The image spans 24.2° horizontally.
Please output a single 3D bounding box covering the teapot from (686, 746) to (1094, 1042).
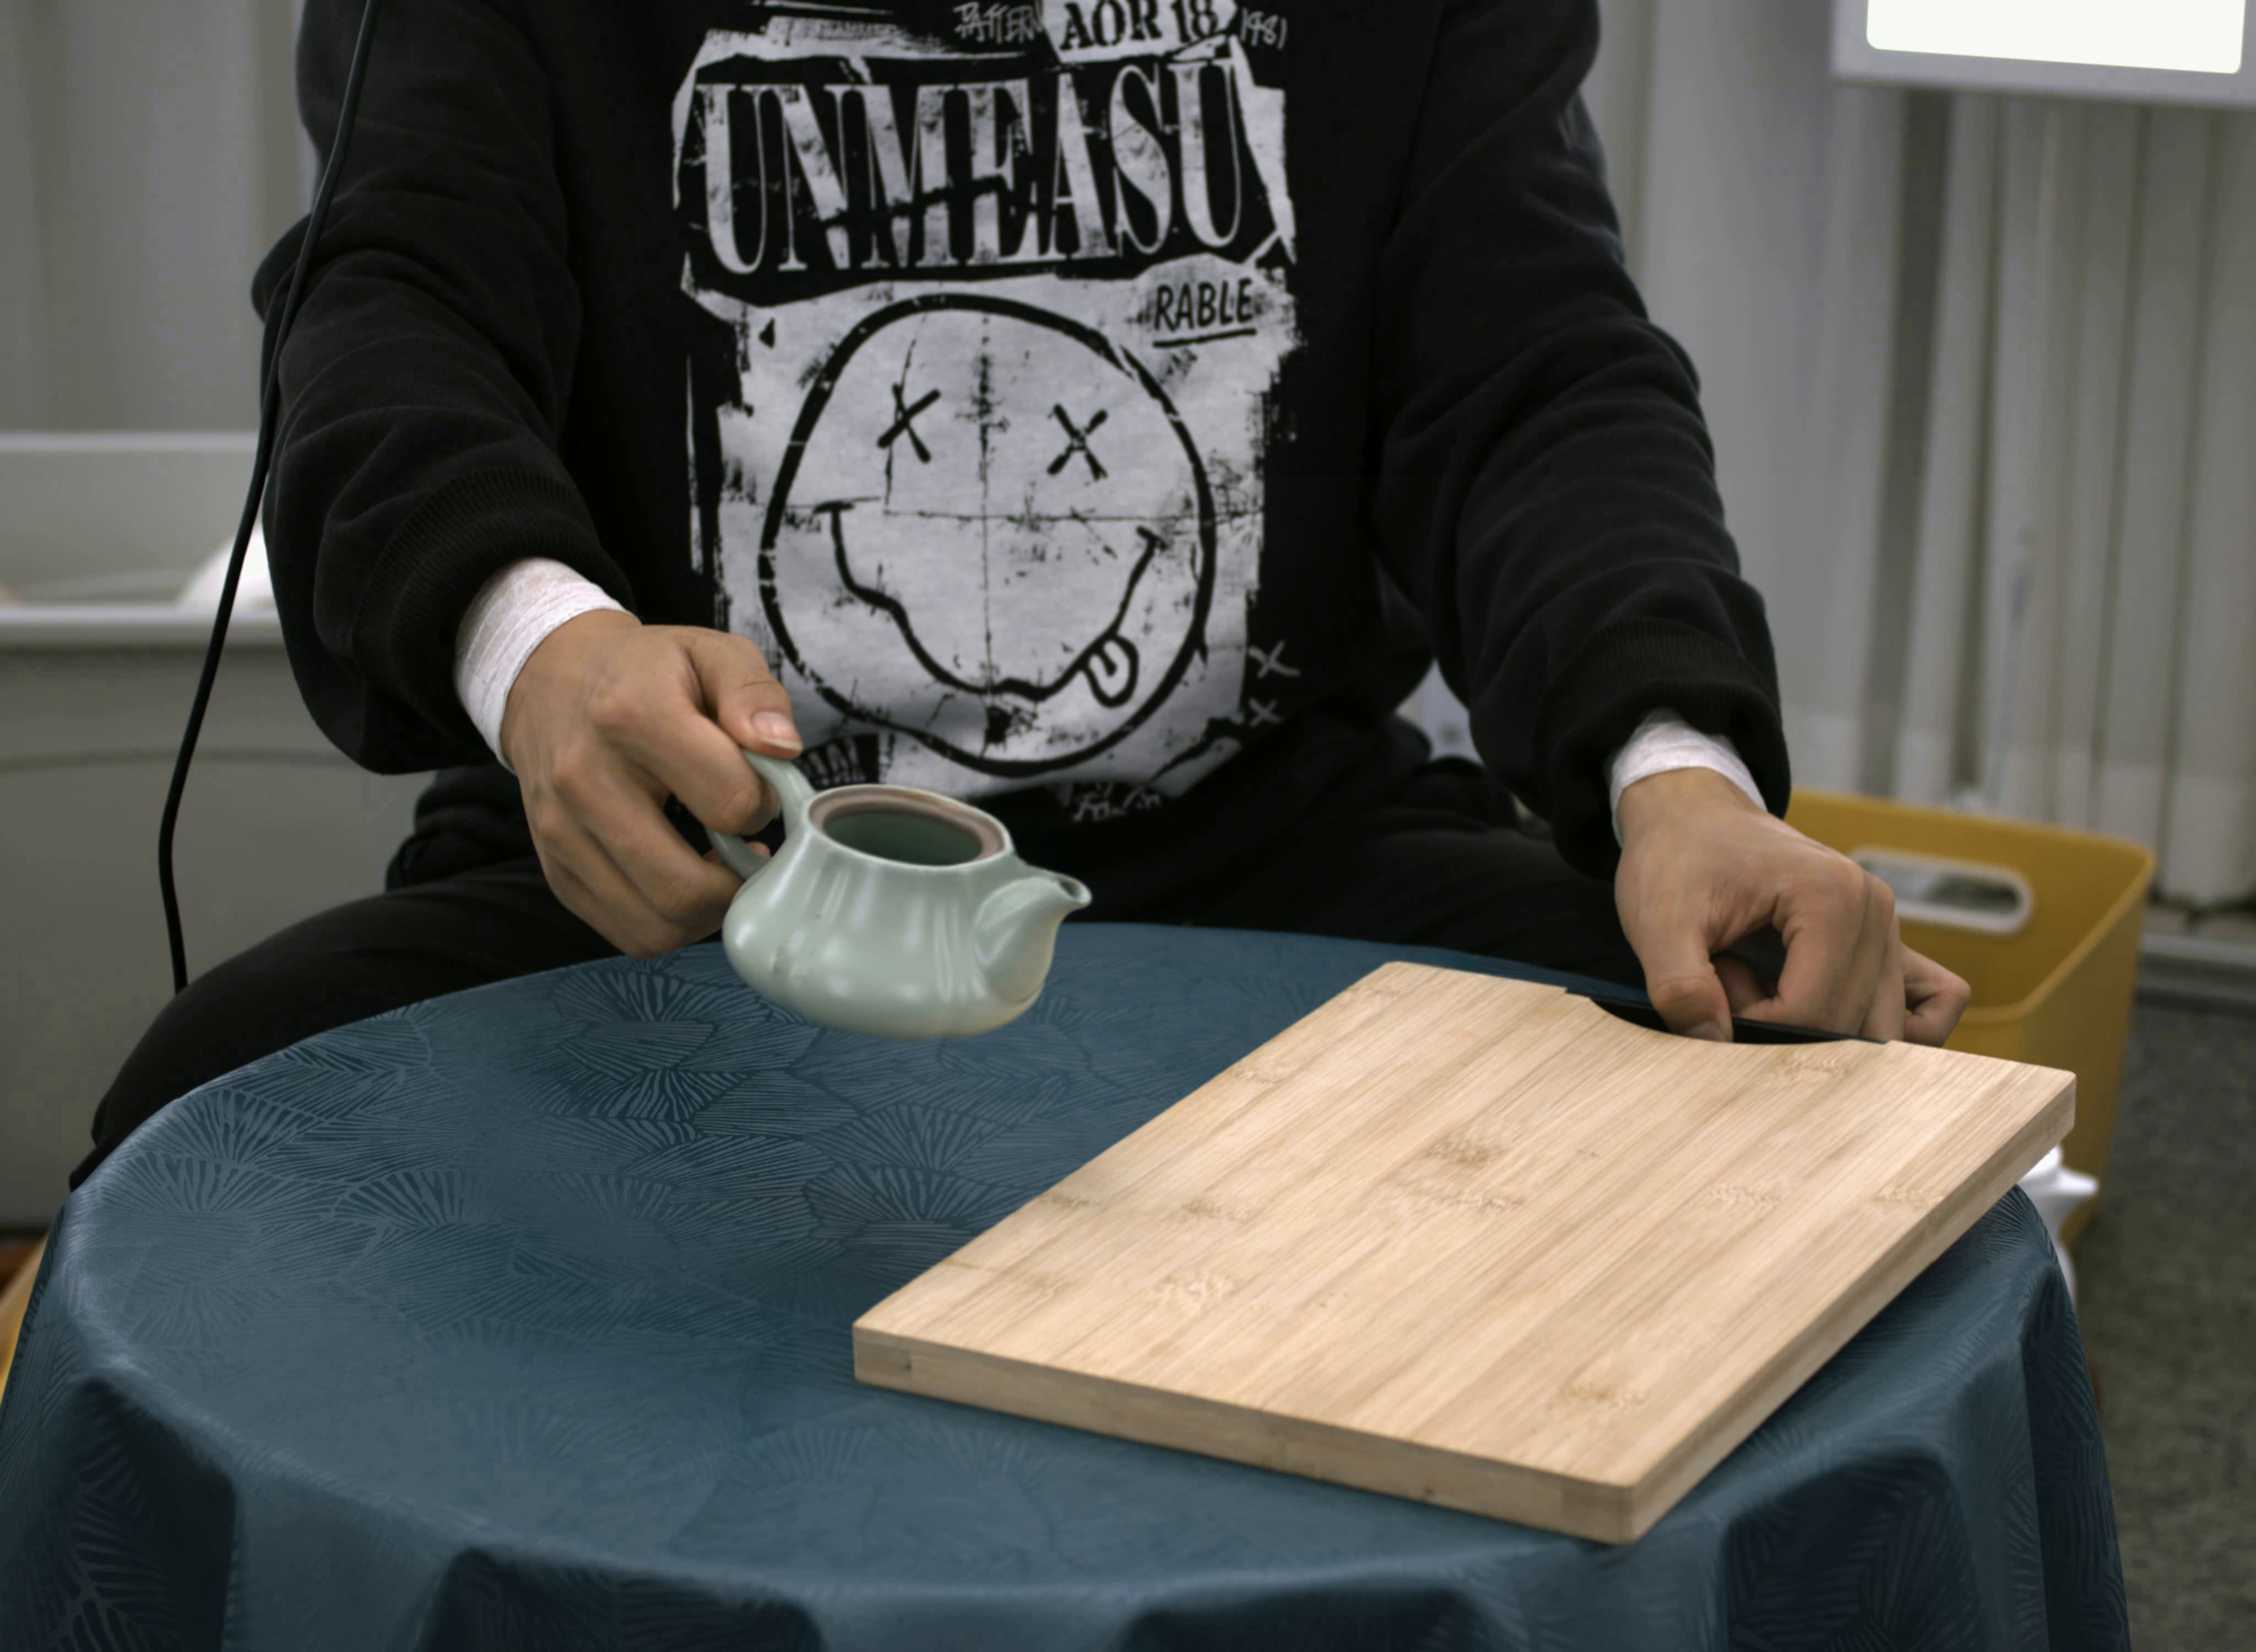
[{"bbox_3d":[-0.073,0.022,1.536,0.135,0.062,0.096,22,26,25],"label":"teapot"}]

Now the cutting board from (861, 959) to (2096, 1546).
[{"bbox_3d":[0.112,0.115,1.556,0.248,0.024,0.349,9,20,27],"label":"cutting board"}]
